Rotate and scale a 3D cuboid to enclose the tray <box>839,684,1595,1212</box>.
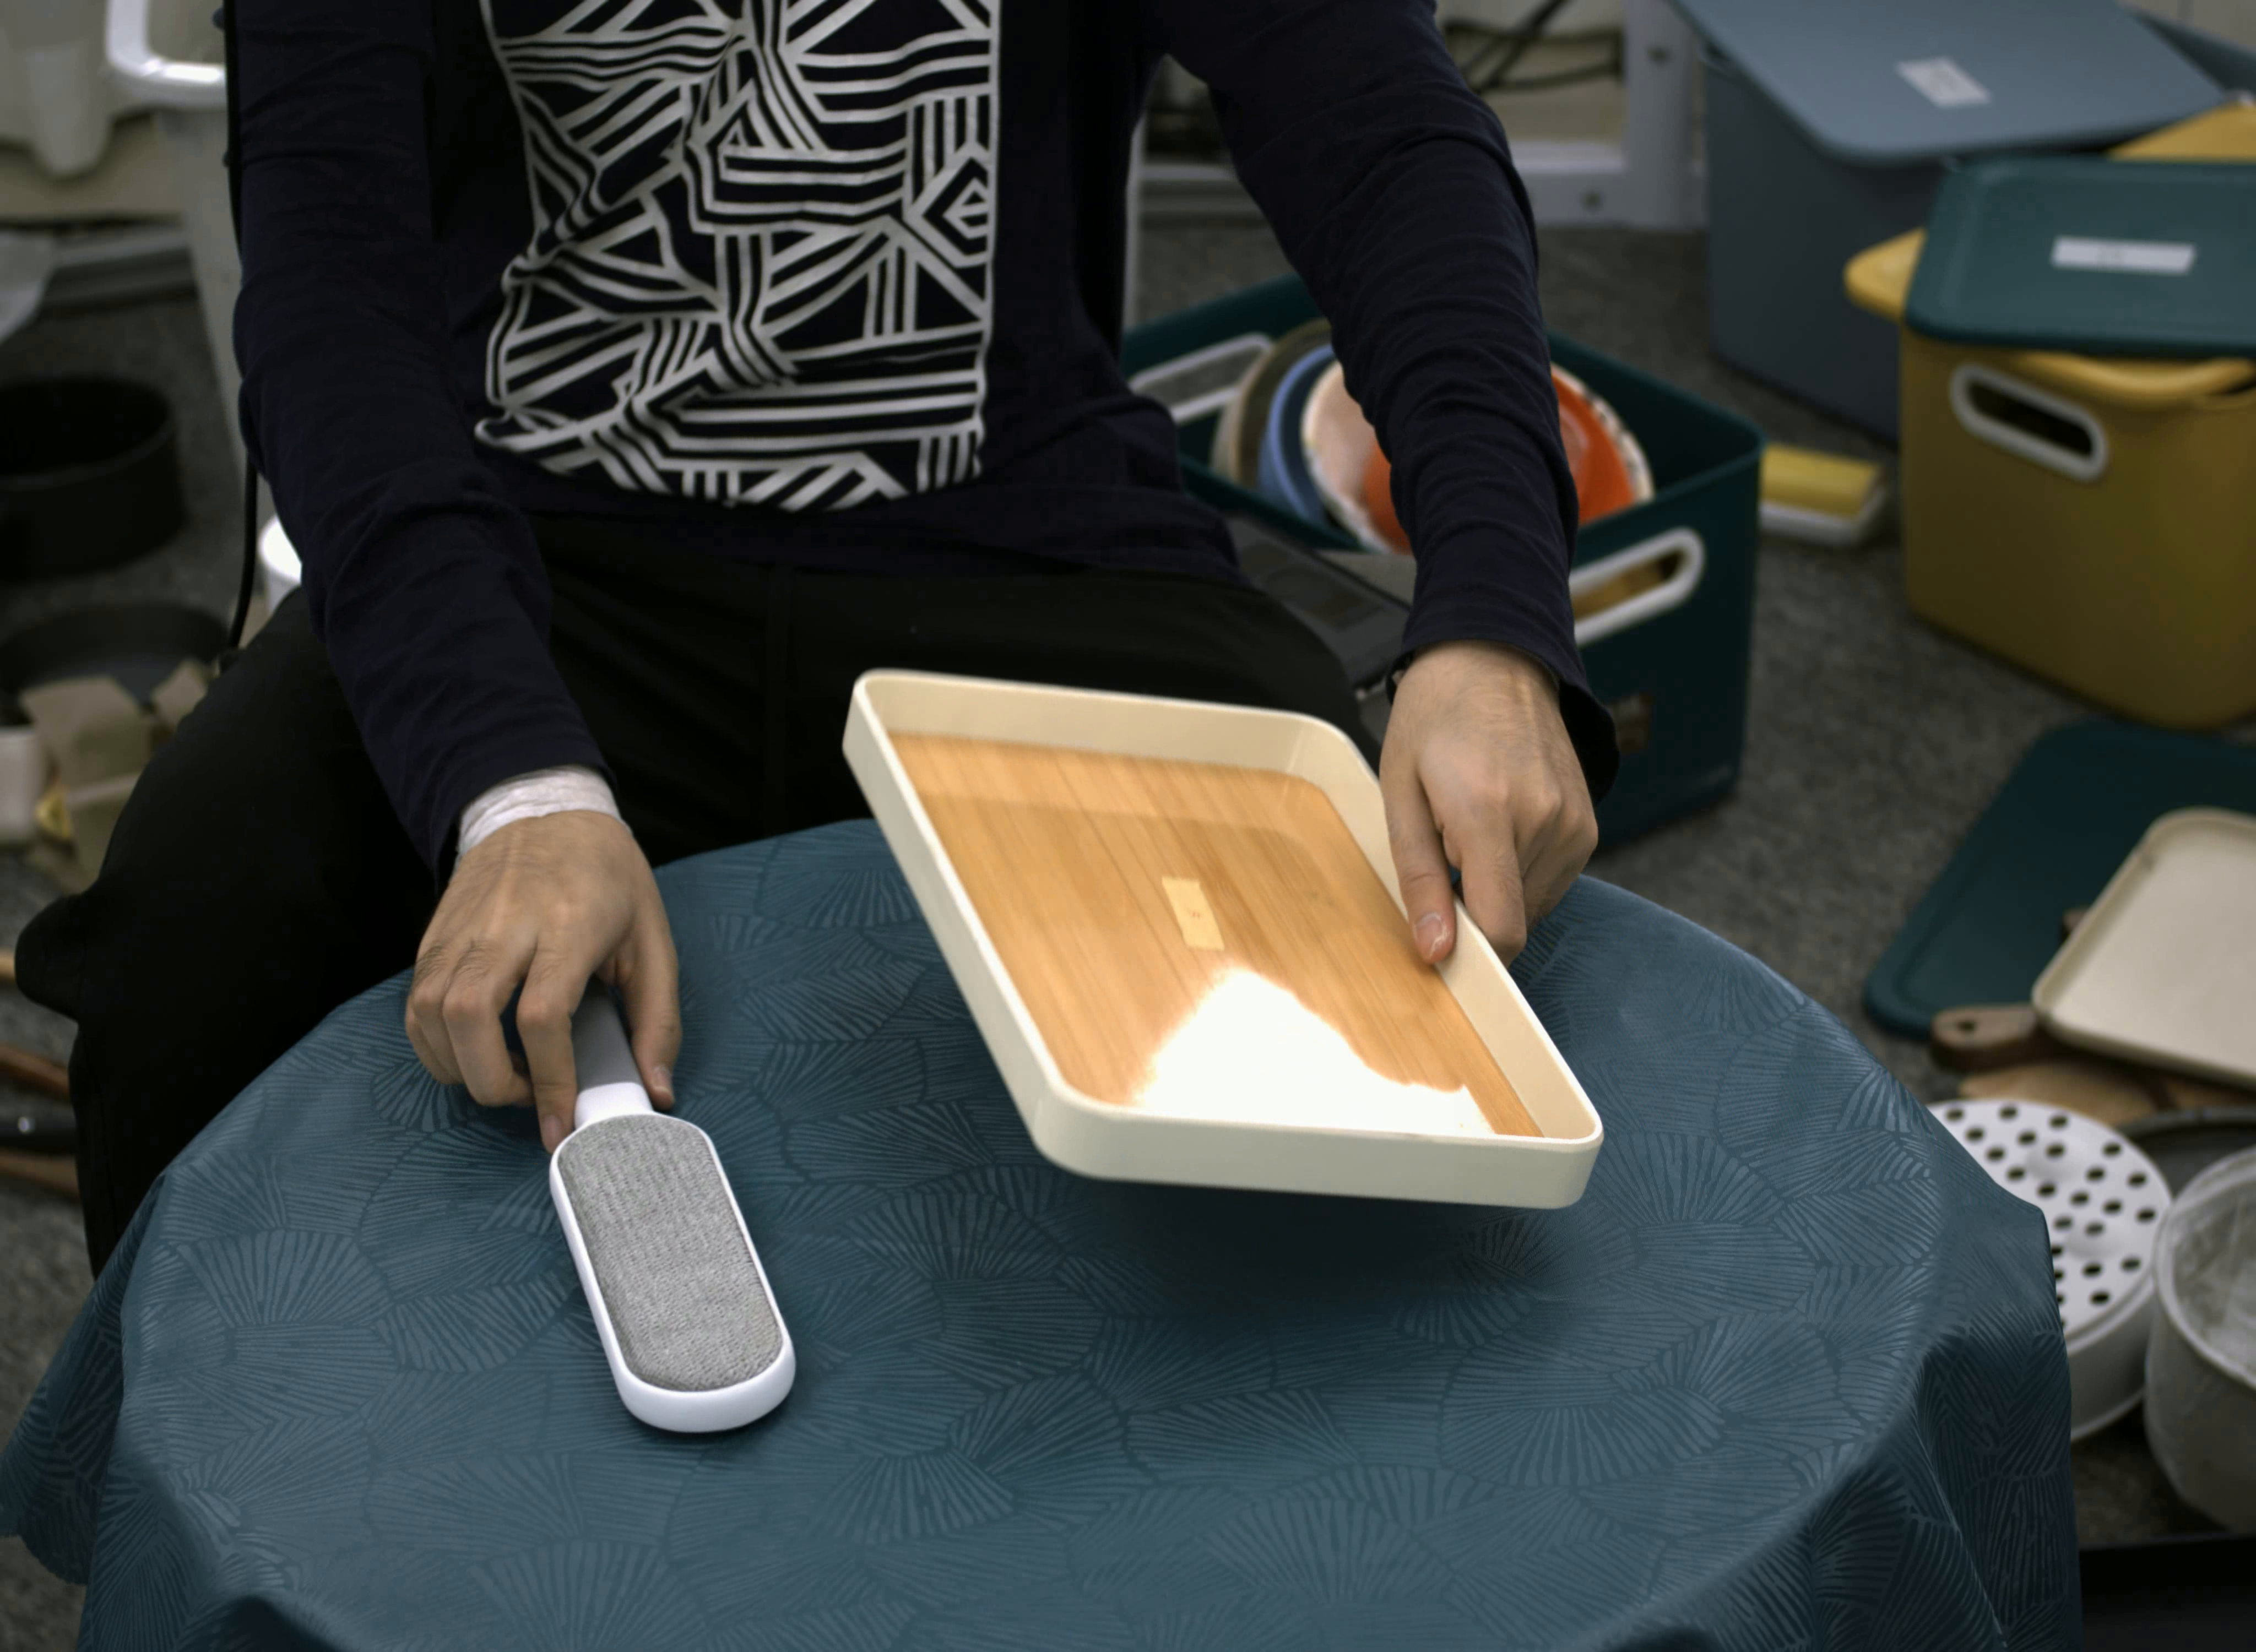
[{"bbox_3d":[0.023,0.037,1.879,0.191,0.027,0.303,6,25,-20],"label":"tray"}]

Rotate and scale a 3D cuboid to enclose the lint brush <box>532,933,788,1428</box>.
[{"bbox_3d":[-0.163,0.112,1.865,0.060,0.021,0.312,-14,29,-8],"label":"lint brush"}]
